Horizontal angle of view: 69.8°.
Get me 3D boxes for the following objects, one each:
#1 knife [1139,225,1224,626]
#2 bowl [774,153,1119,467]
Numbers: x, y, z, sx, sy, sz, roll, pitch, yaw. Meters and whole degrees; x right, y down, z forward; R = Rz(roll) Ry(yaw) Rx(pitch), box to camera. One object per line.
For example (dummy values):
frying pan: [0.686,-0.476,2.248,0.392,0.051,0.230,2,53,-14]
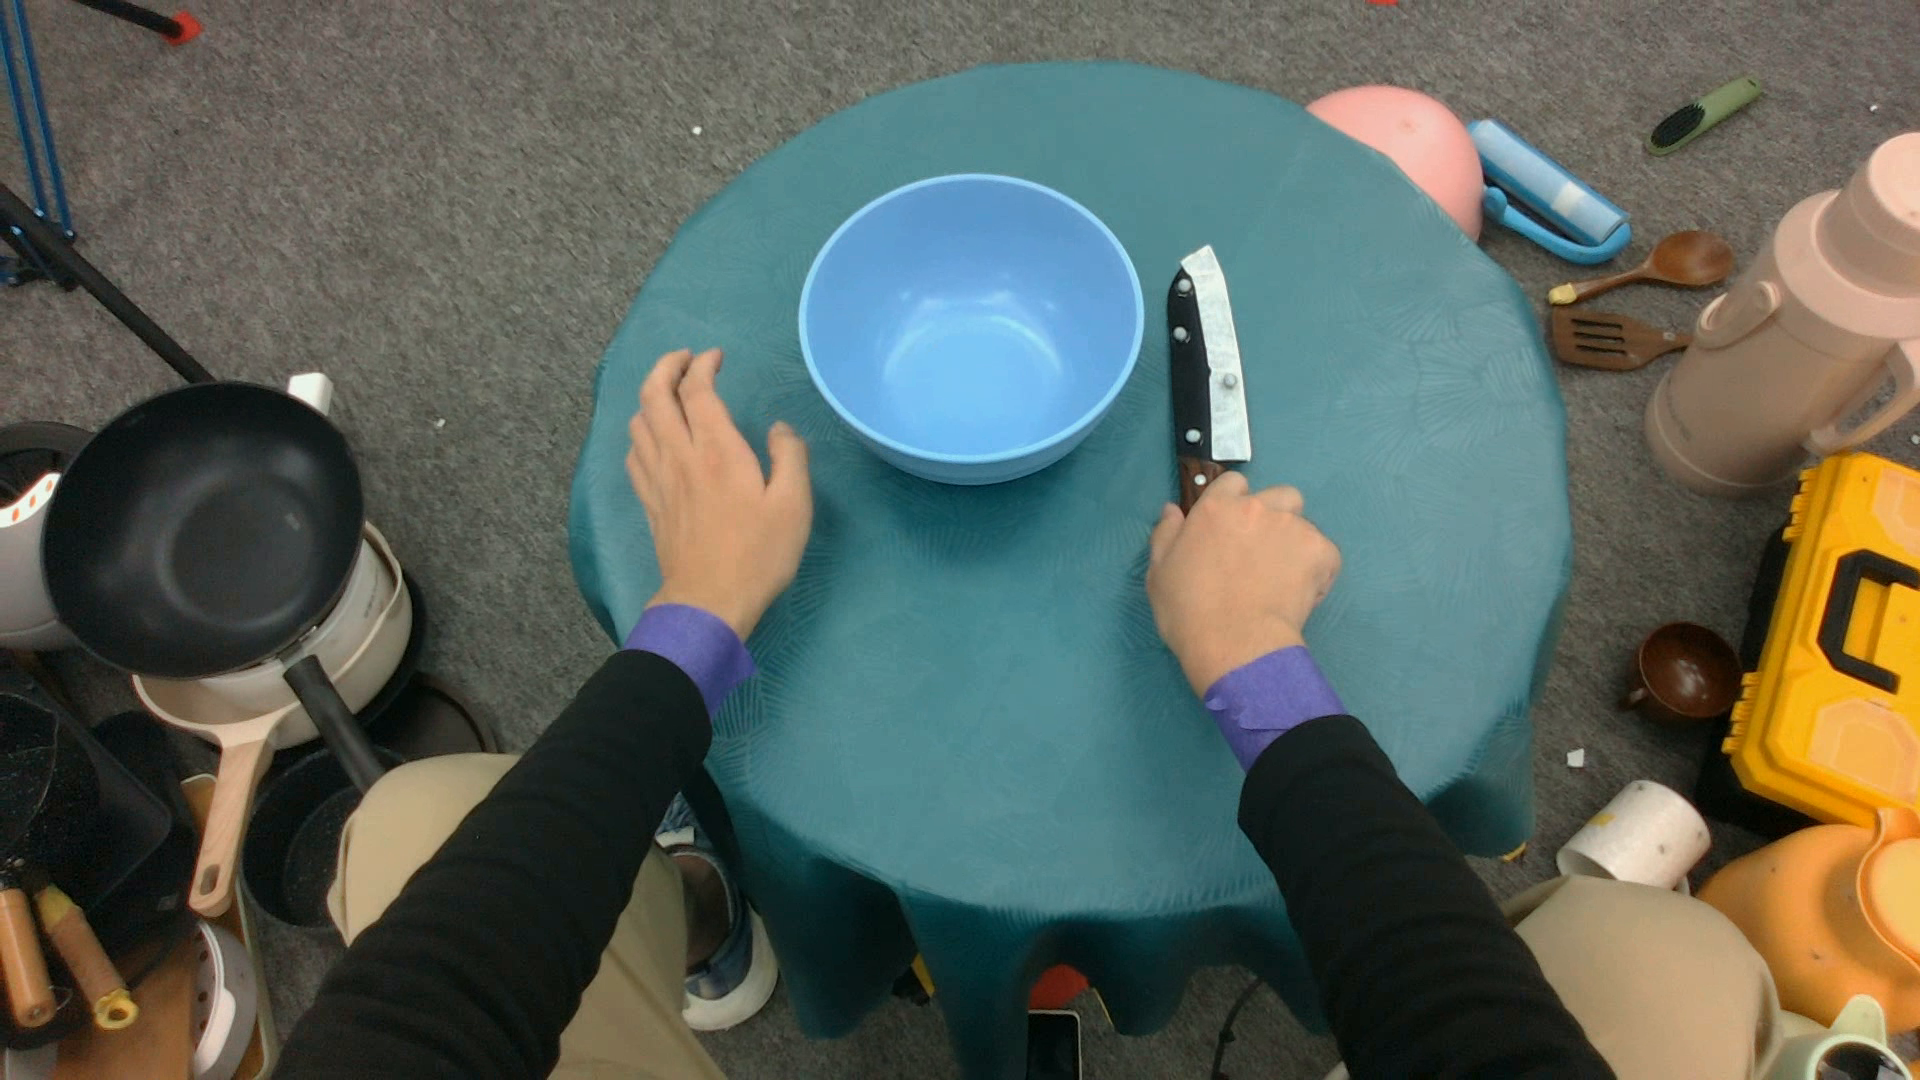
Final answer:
knife: [0.136,-0.081,0.840,0.050,0.020,0.290,1,62,3]
bowl: [-0.007,-0.122,0.822,0.196,0.095,0.197,0,67,0]
